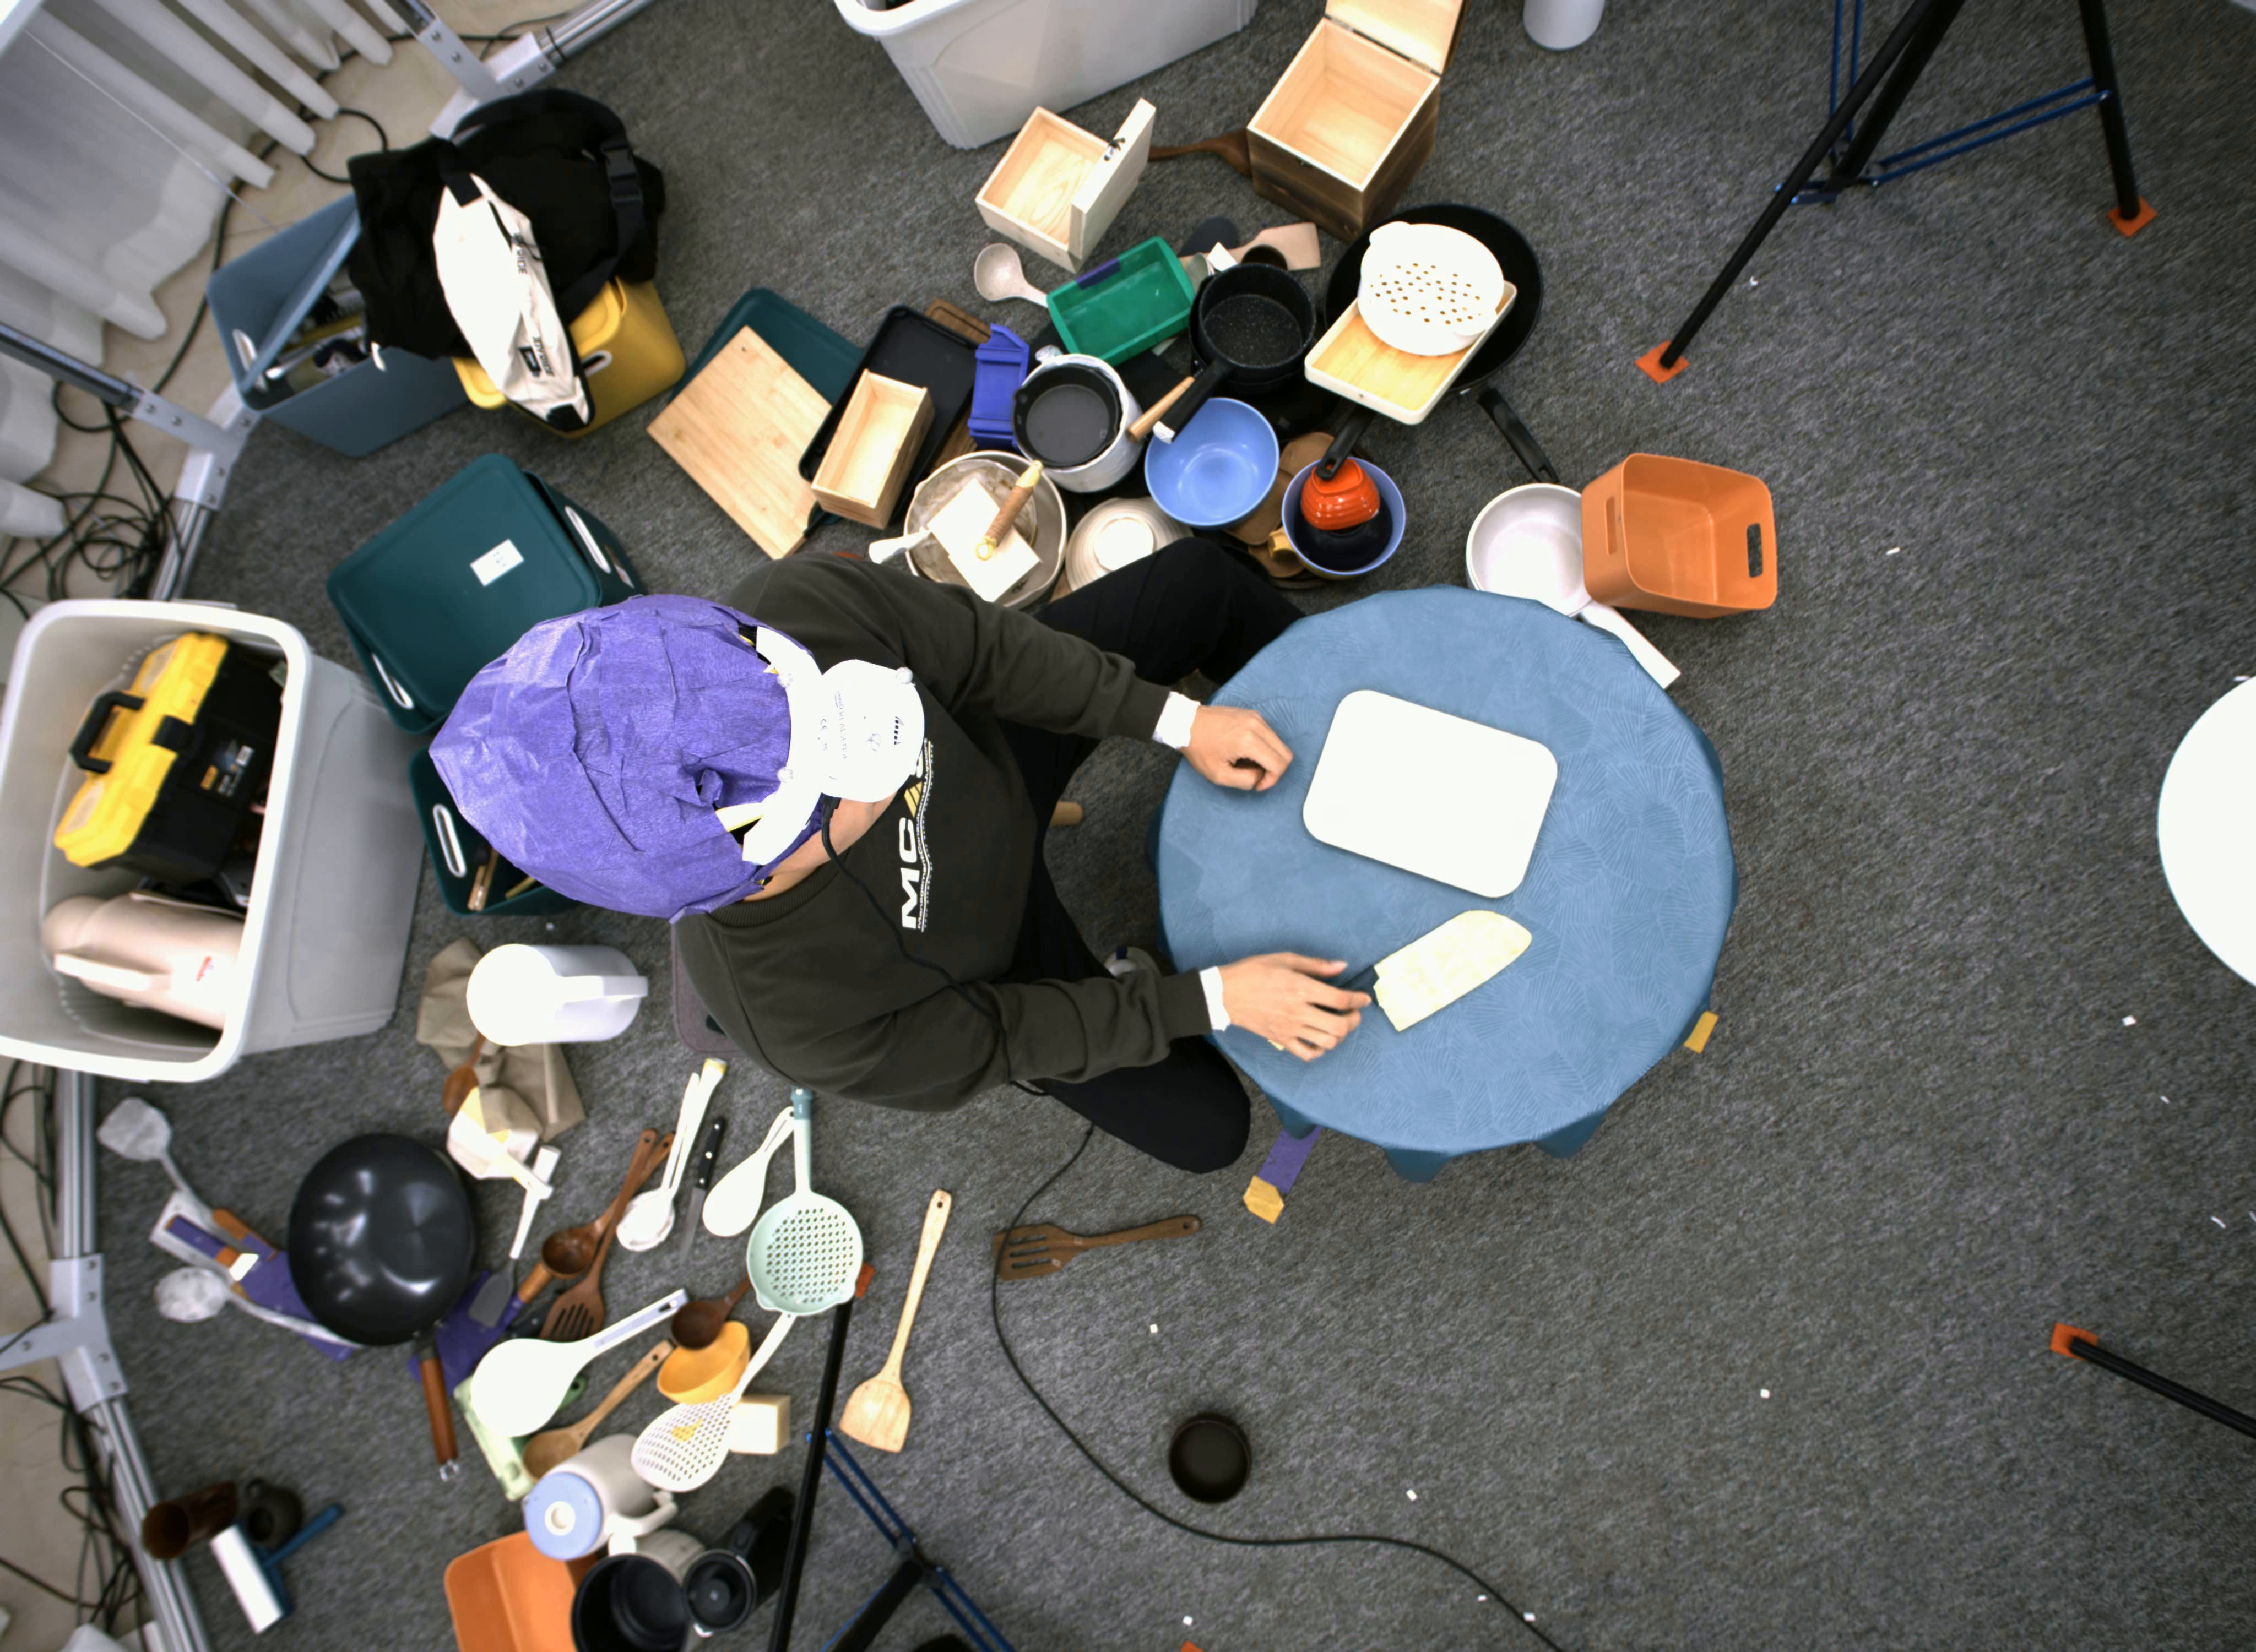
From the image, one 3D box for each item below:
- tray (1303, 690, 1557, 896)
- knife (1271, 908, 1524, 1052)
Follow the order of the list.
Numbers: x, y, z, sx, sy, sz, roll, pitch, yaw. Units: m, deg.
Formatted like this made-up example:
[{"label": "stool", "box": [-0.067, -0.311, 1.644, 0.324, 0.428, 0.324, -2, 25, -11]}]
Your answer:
[{"label": "tray", "box": [0.316, -0.037, 1.448, 0.240, 0.017, 0.171, 19, 91, 11]}, {"label": "knife", "box": [0.283, 0.169, 1.445, 0.291, 0.027, 0.080, -29, 79, 7]}]
